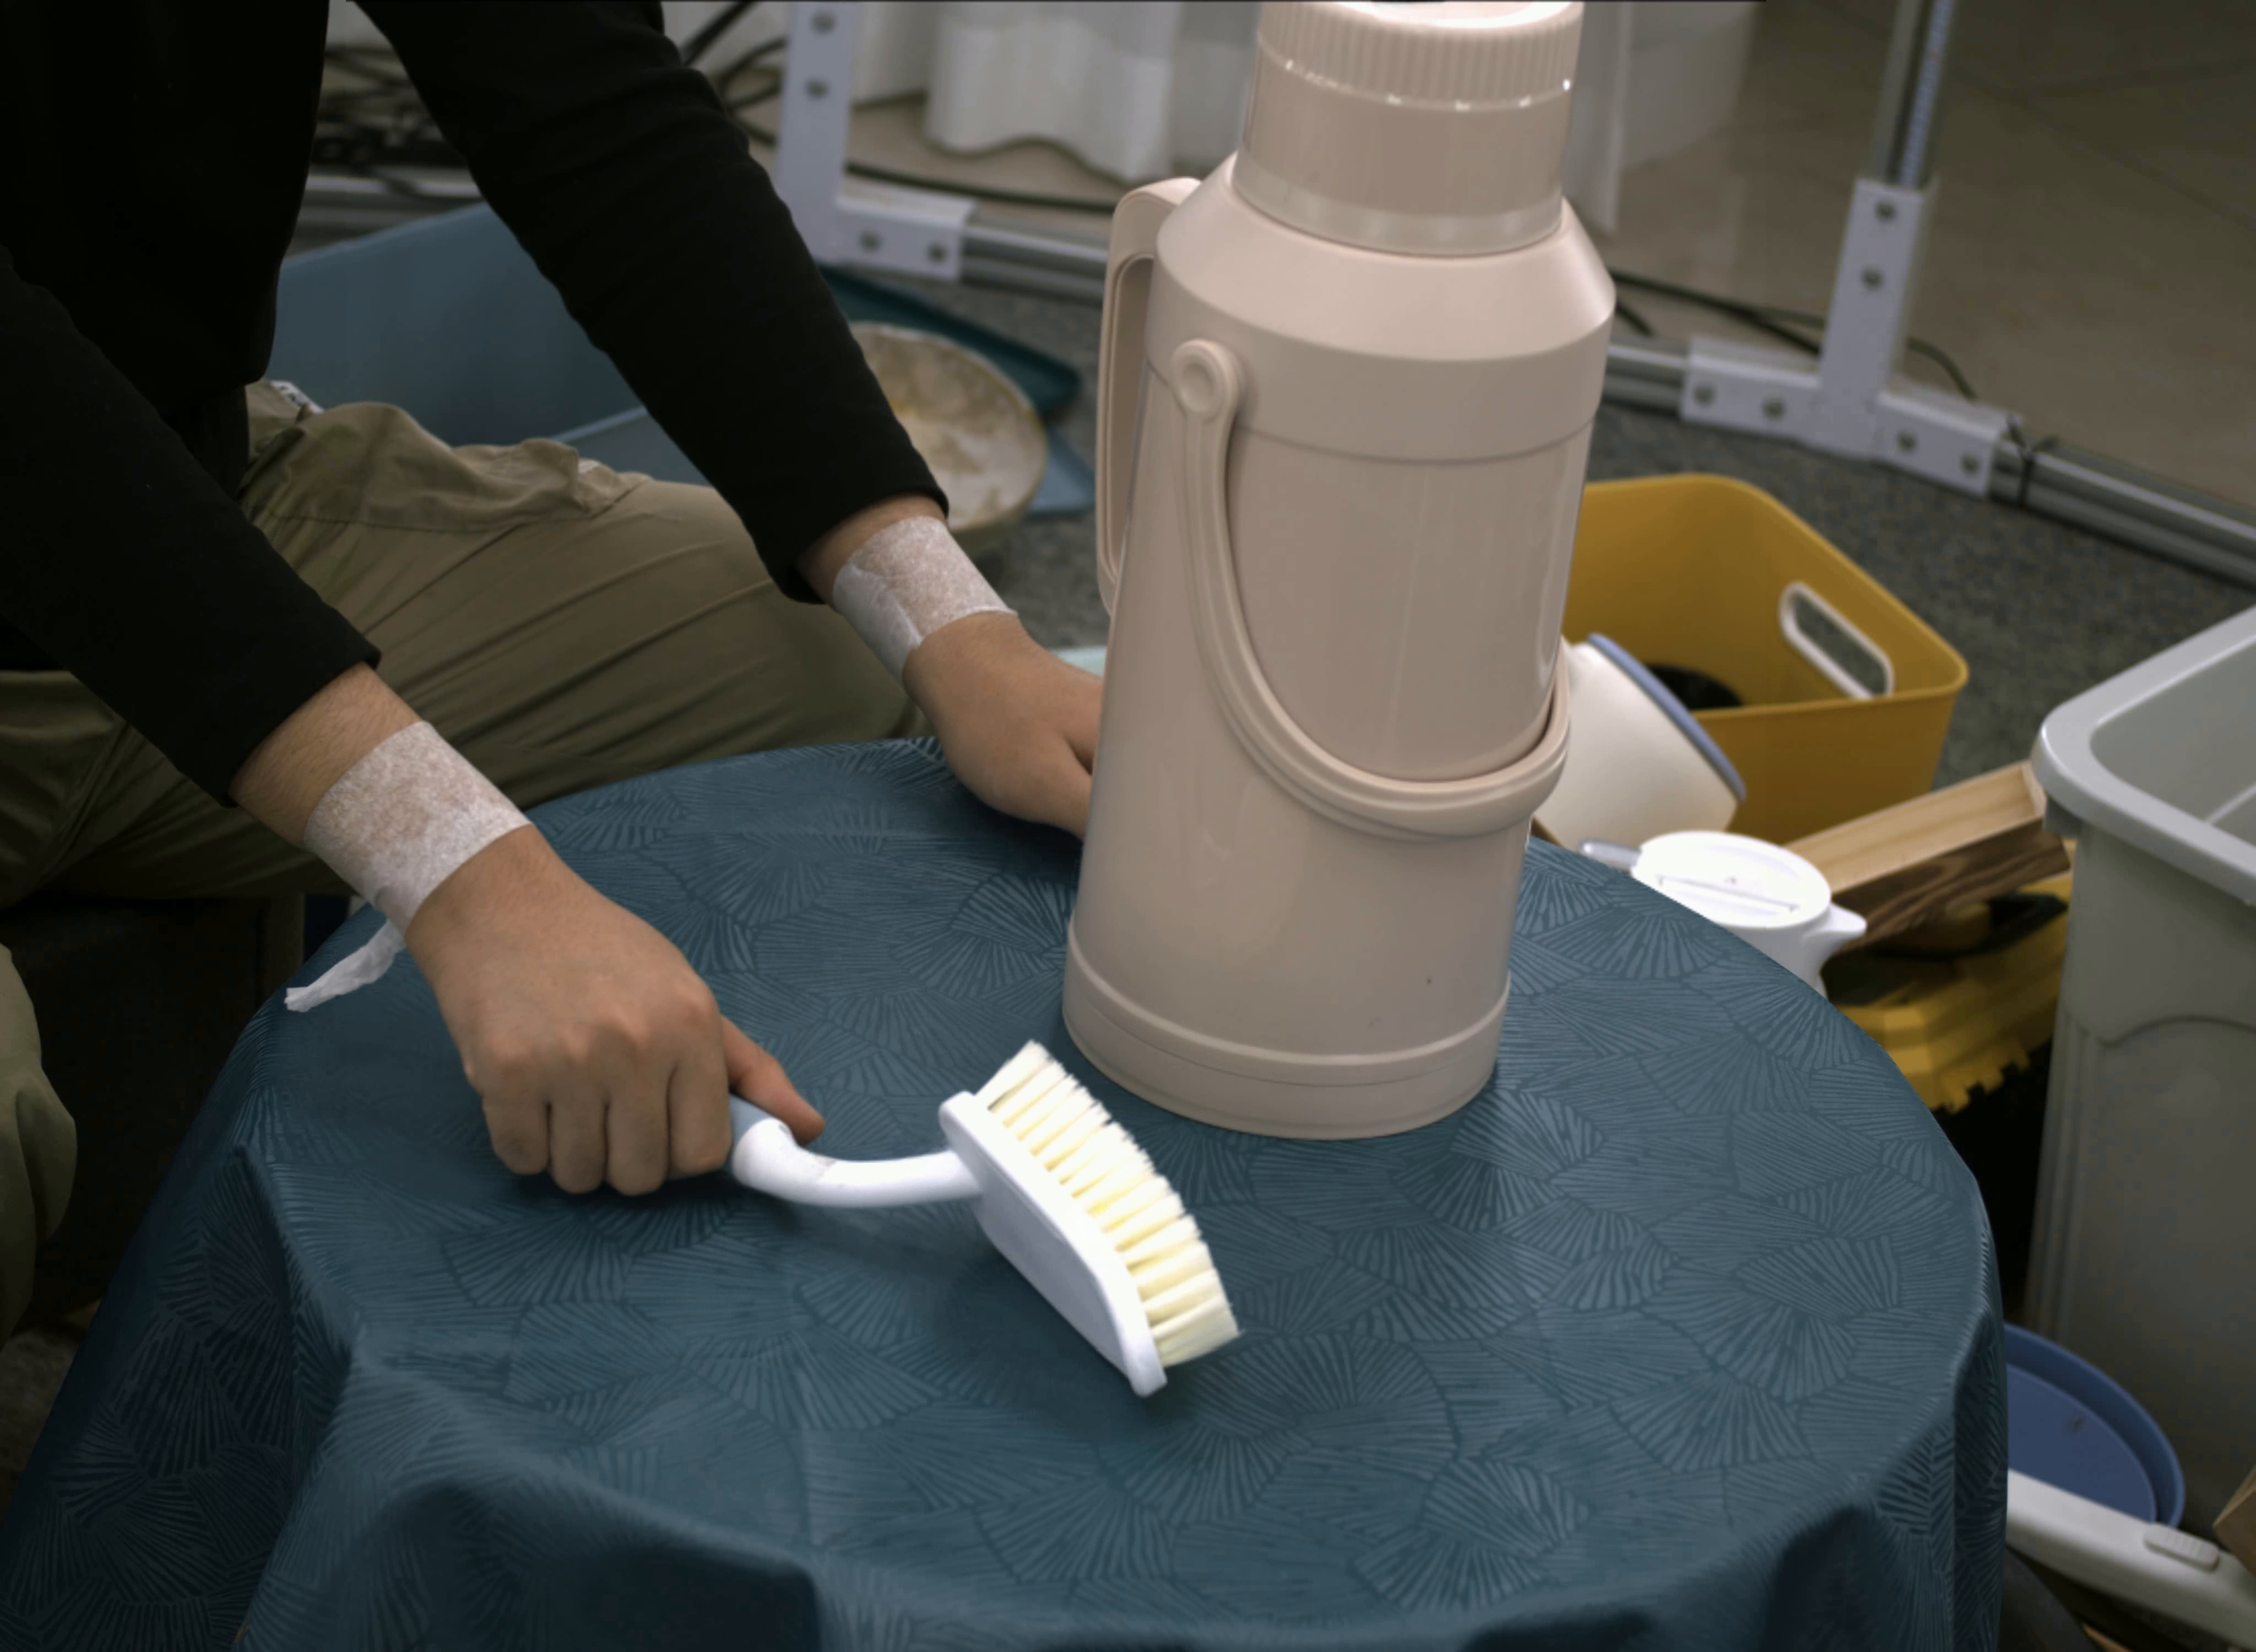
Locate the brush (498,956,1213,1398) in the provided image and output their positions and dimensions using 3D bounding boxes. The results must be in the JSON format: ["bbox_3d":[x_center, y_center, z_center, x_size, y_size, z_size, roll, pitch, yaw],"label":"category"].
[{"bbox_3d":[-0.084,0.091,1.769,0.084,0.083,0.328,-2,23,-47],"label":"brush"}]

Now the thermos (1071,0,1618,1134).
[{"bbox_3d":[0.068,-0.109,1.838,0.174,0.405,0.208,-21,38,-41],"label":"thermos"}]
